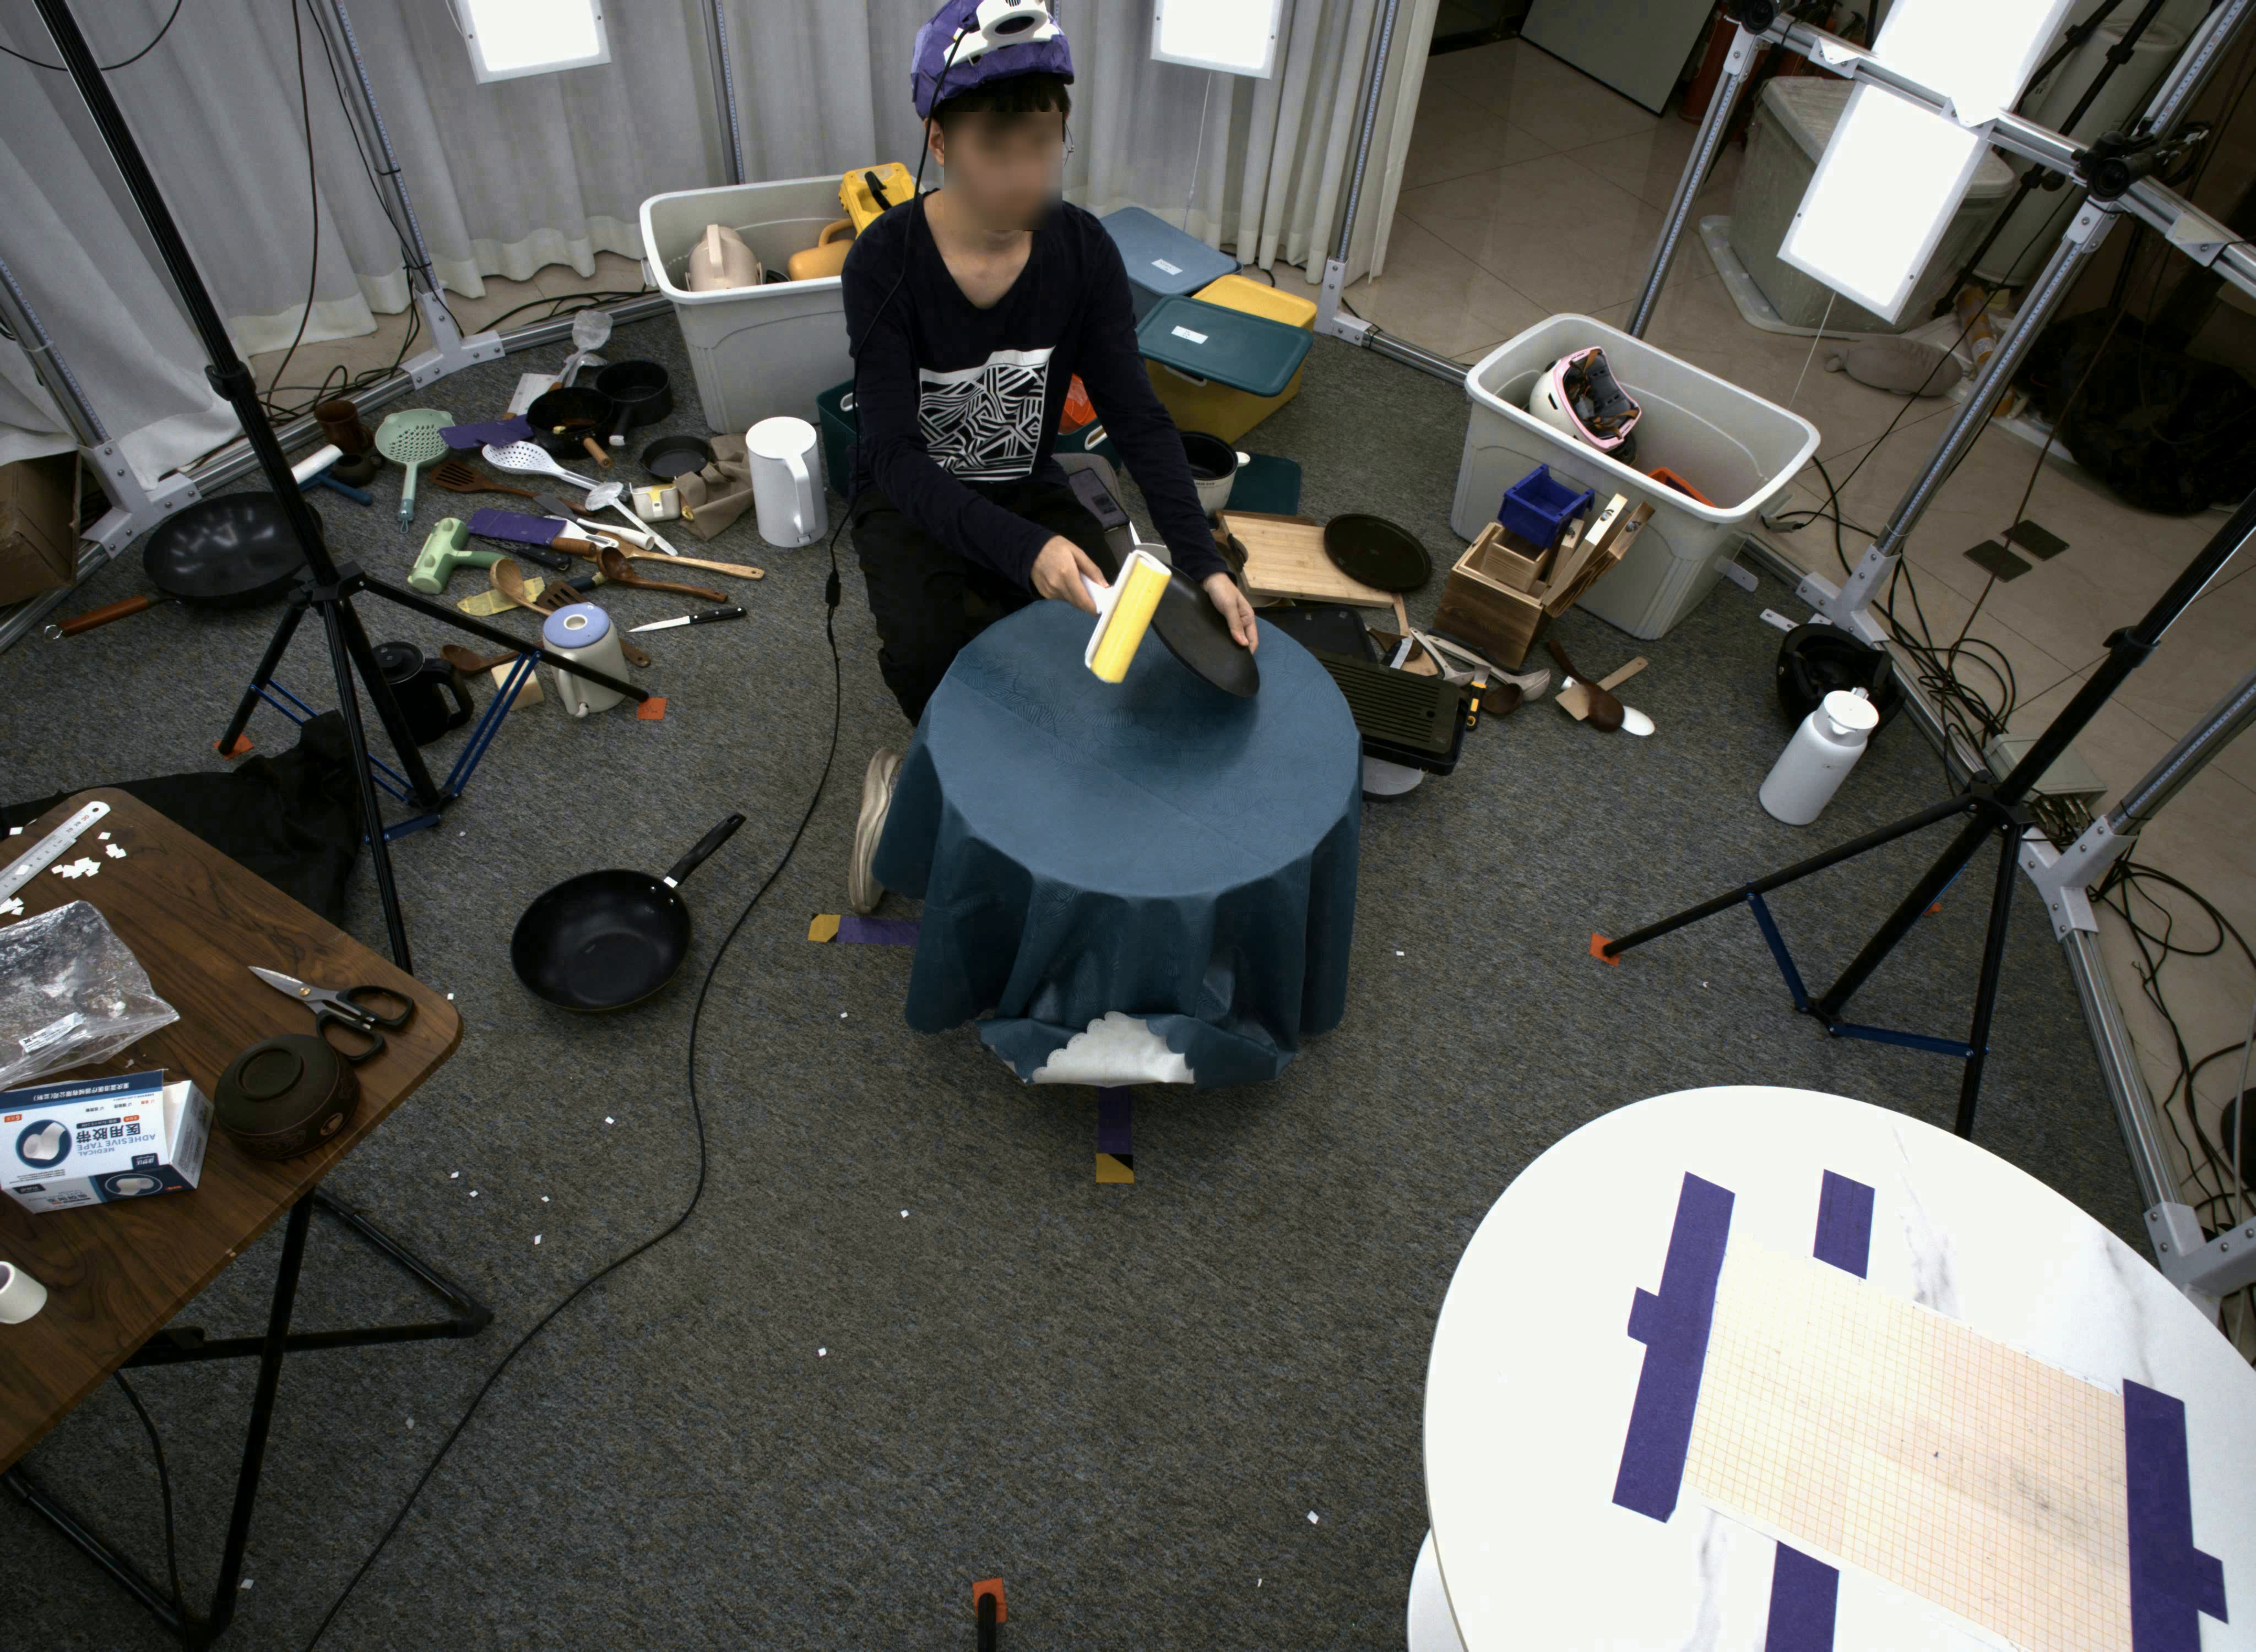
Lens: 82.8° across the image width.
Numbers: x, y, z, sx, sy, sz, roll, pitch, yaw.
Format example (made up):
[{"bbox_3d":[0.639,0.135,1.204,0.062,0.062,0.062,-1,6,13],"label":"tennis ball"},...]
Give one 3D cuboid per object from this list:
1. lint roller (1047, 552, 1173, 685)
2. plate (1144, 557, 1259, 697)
[{"bbox_3d":[-0.048,-0.304,1.712,0.195,0.172,0.051,36,21,26],"label":"lint roller"},{"bbox_3d":[0.091,-0.272,1.790,0.241,0.023,0.250,34,33,-26],"label":"plate"}]
